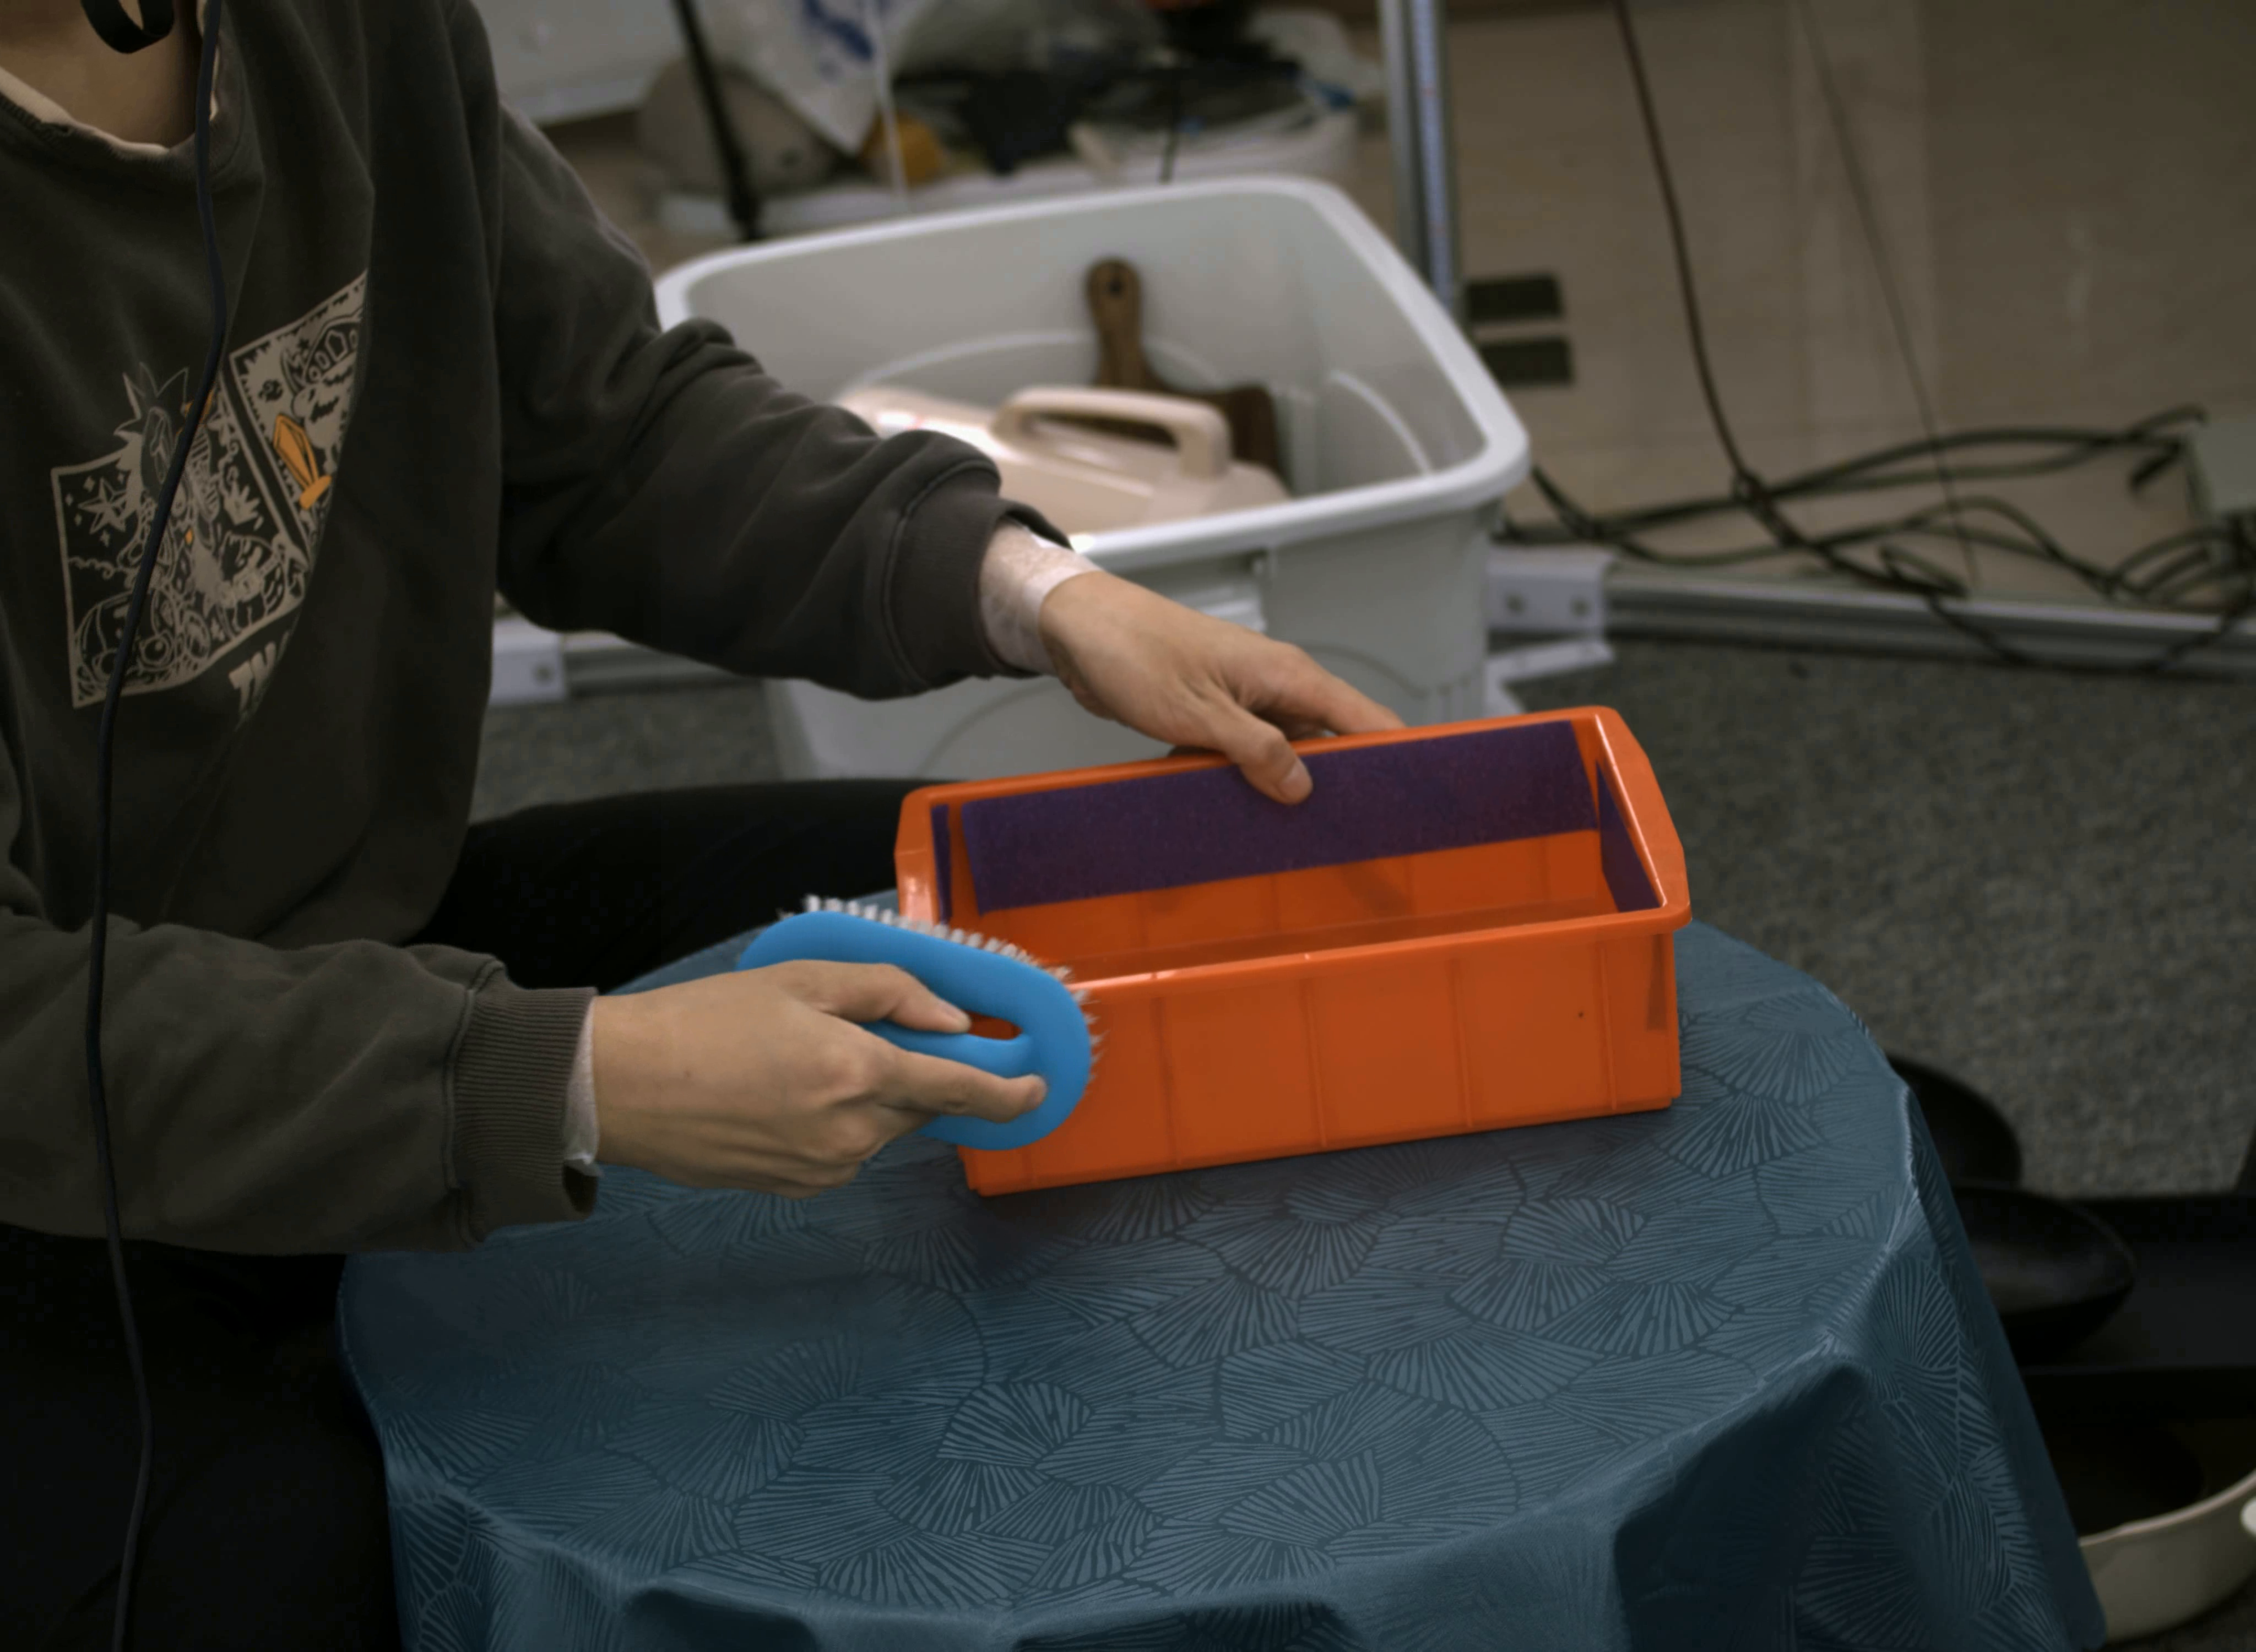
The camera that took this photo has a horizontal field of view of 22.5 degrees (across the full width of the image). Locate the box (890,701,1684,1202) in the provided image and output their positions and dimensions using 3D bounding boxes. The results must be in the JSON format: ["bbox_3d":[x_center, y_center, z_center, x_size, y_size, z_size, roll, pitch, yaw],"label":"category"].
[{"bbox_3d":[0.062,0.049,2.221,0.303,0.098,0.203,-6,25,0],"label":"box"}]

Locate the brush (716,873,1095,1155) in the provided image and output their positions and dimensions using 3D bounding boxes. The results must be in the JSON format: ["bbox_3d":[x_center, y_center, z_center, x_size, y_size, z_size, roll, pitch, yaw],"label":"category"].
[{"bbox_3d":[-0.084,0.073,2.079,0.141,0.085,0.063,18,12,0],"label":"brush"}]
